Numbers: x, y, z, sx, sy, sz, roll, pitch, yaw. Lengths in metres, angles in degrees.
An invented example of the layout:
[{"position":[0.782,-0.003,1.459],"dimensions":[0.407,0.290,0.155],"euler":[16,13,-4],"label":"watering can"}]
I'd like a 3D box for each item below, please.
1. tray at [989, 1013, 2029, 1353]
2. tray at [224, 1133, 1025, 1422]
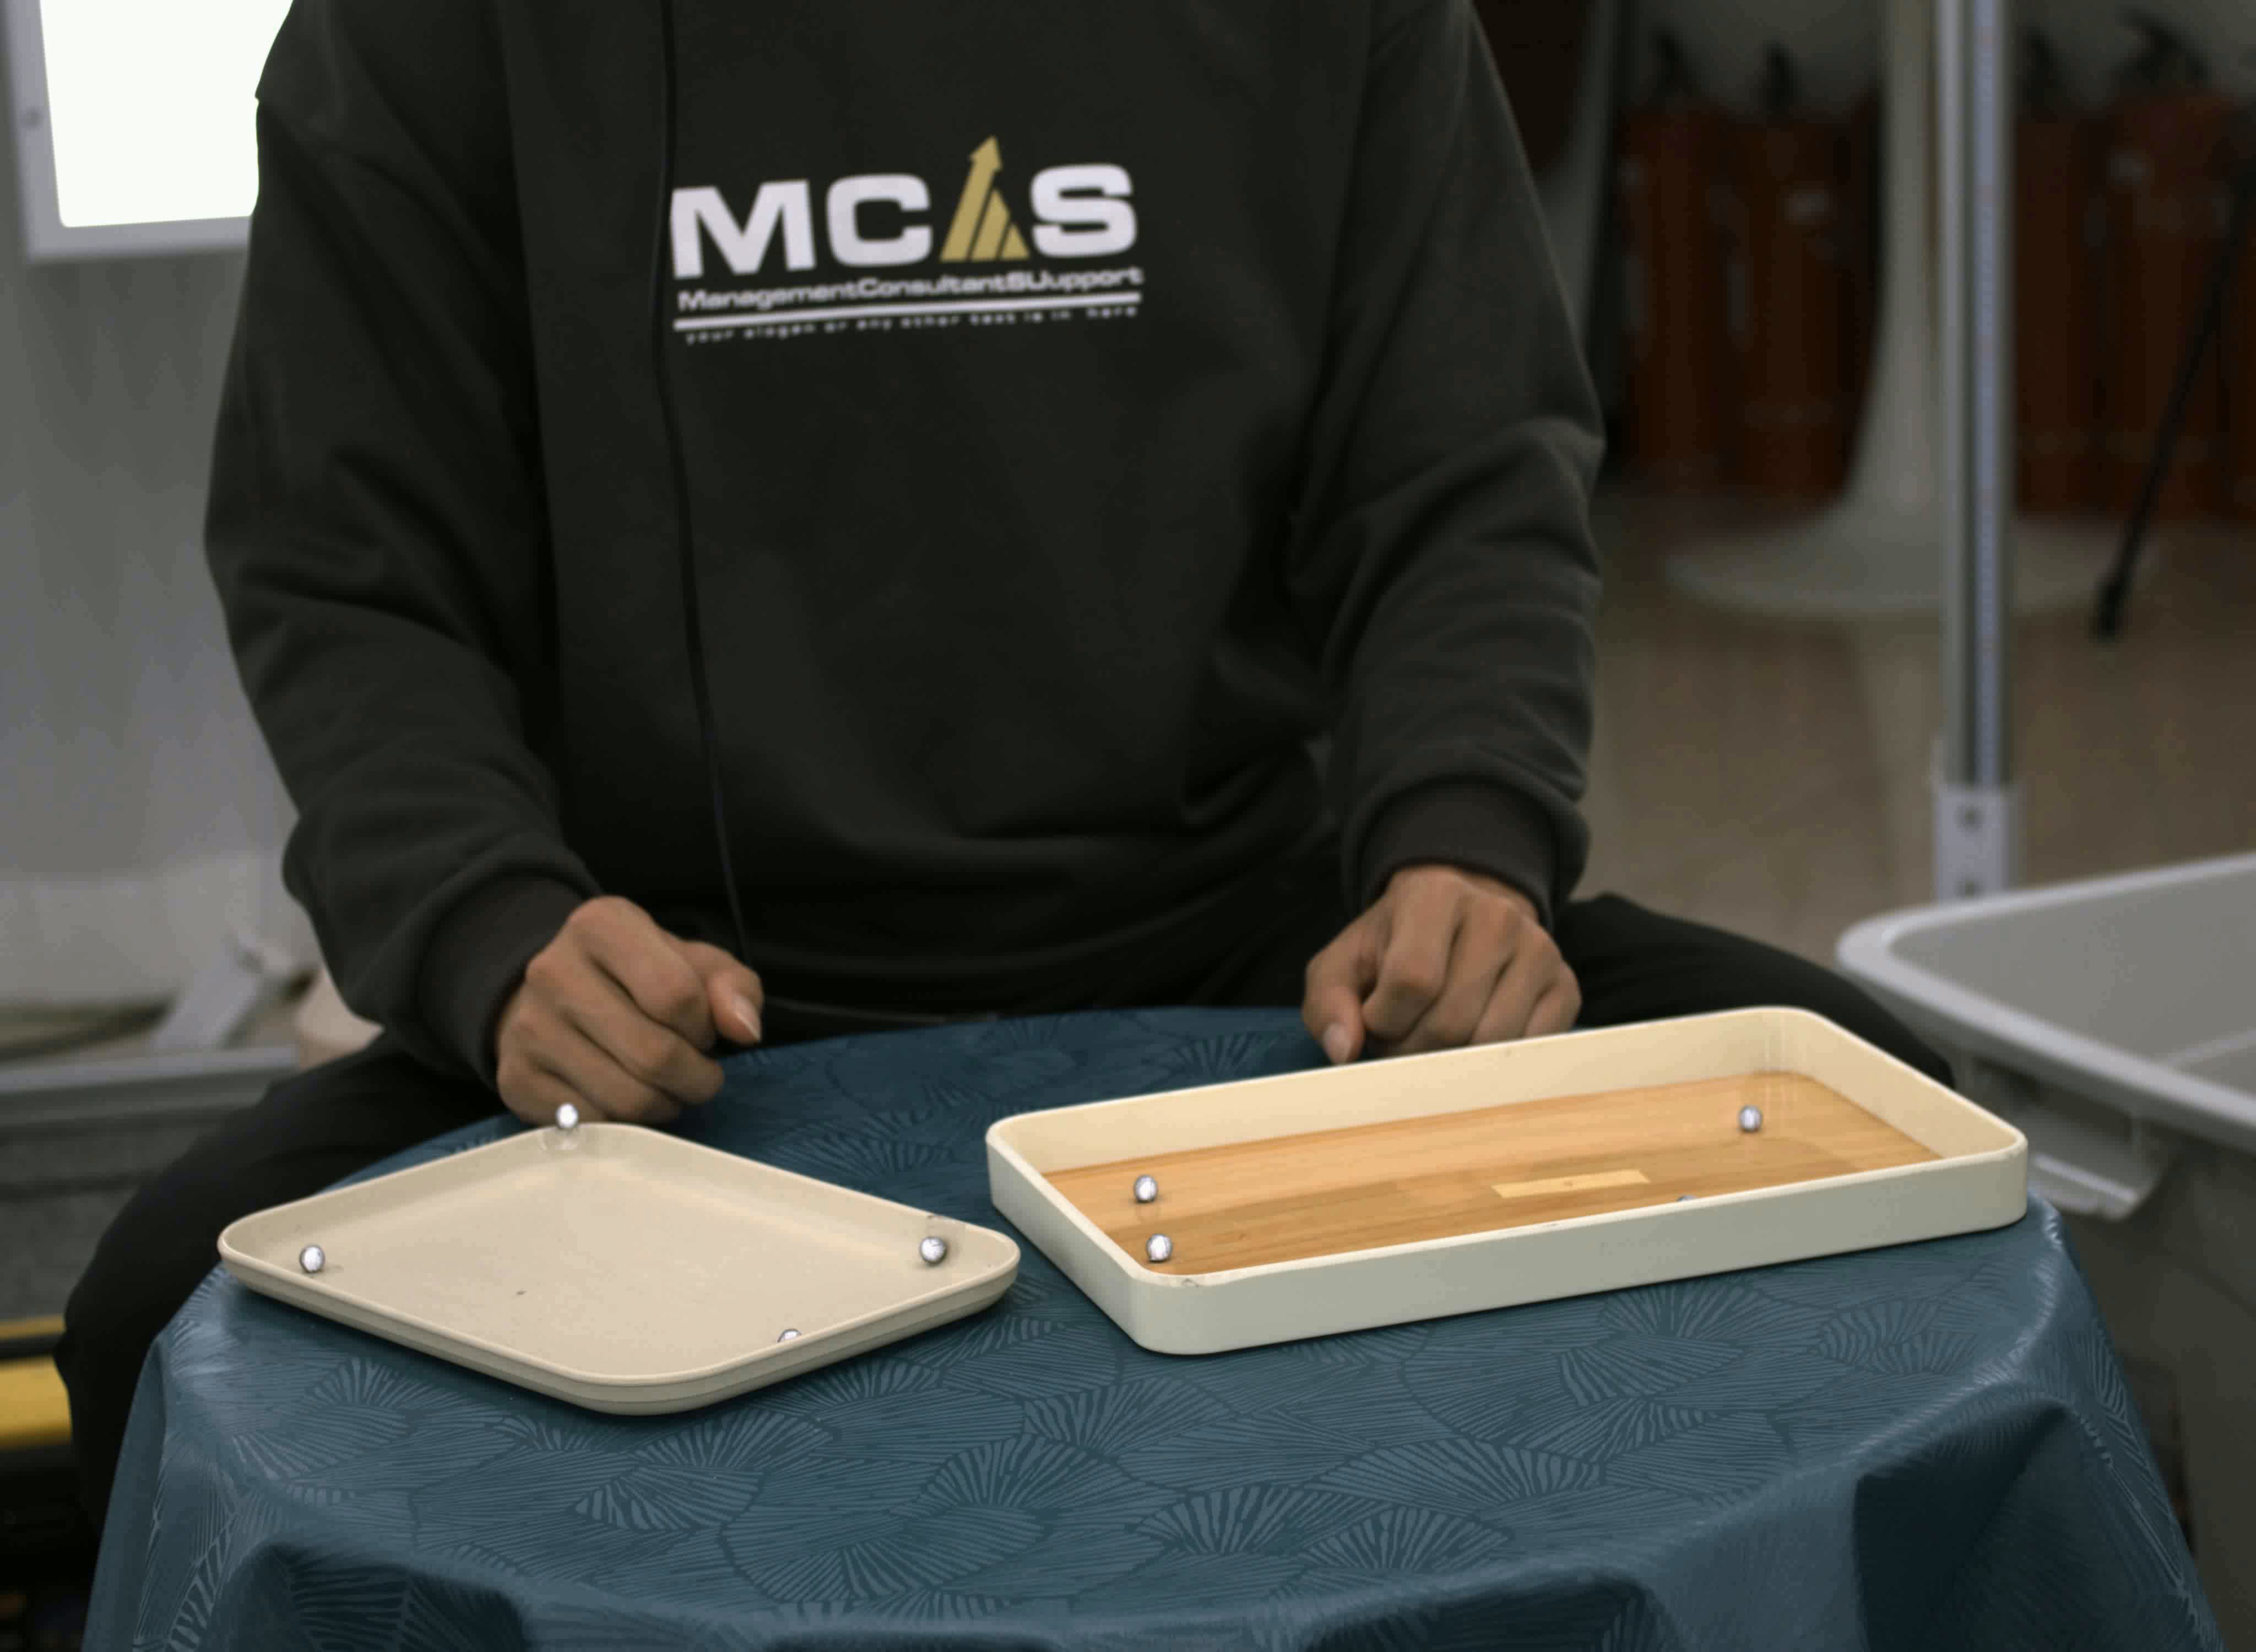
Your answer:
[{"position":[0.119,0.112,1.729],"dimensions":[0.294,0.028,0.193],"euler":[-7,13,-16],"label":"tray"},{"position":[-0.160,0.141,1.703],"dimensions":[0.167,0.017,0.242],"euler":[-16,18,-40],"label":"tray"}]
